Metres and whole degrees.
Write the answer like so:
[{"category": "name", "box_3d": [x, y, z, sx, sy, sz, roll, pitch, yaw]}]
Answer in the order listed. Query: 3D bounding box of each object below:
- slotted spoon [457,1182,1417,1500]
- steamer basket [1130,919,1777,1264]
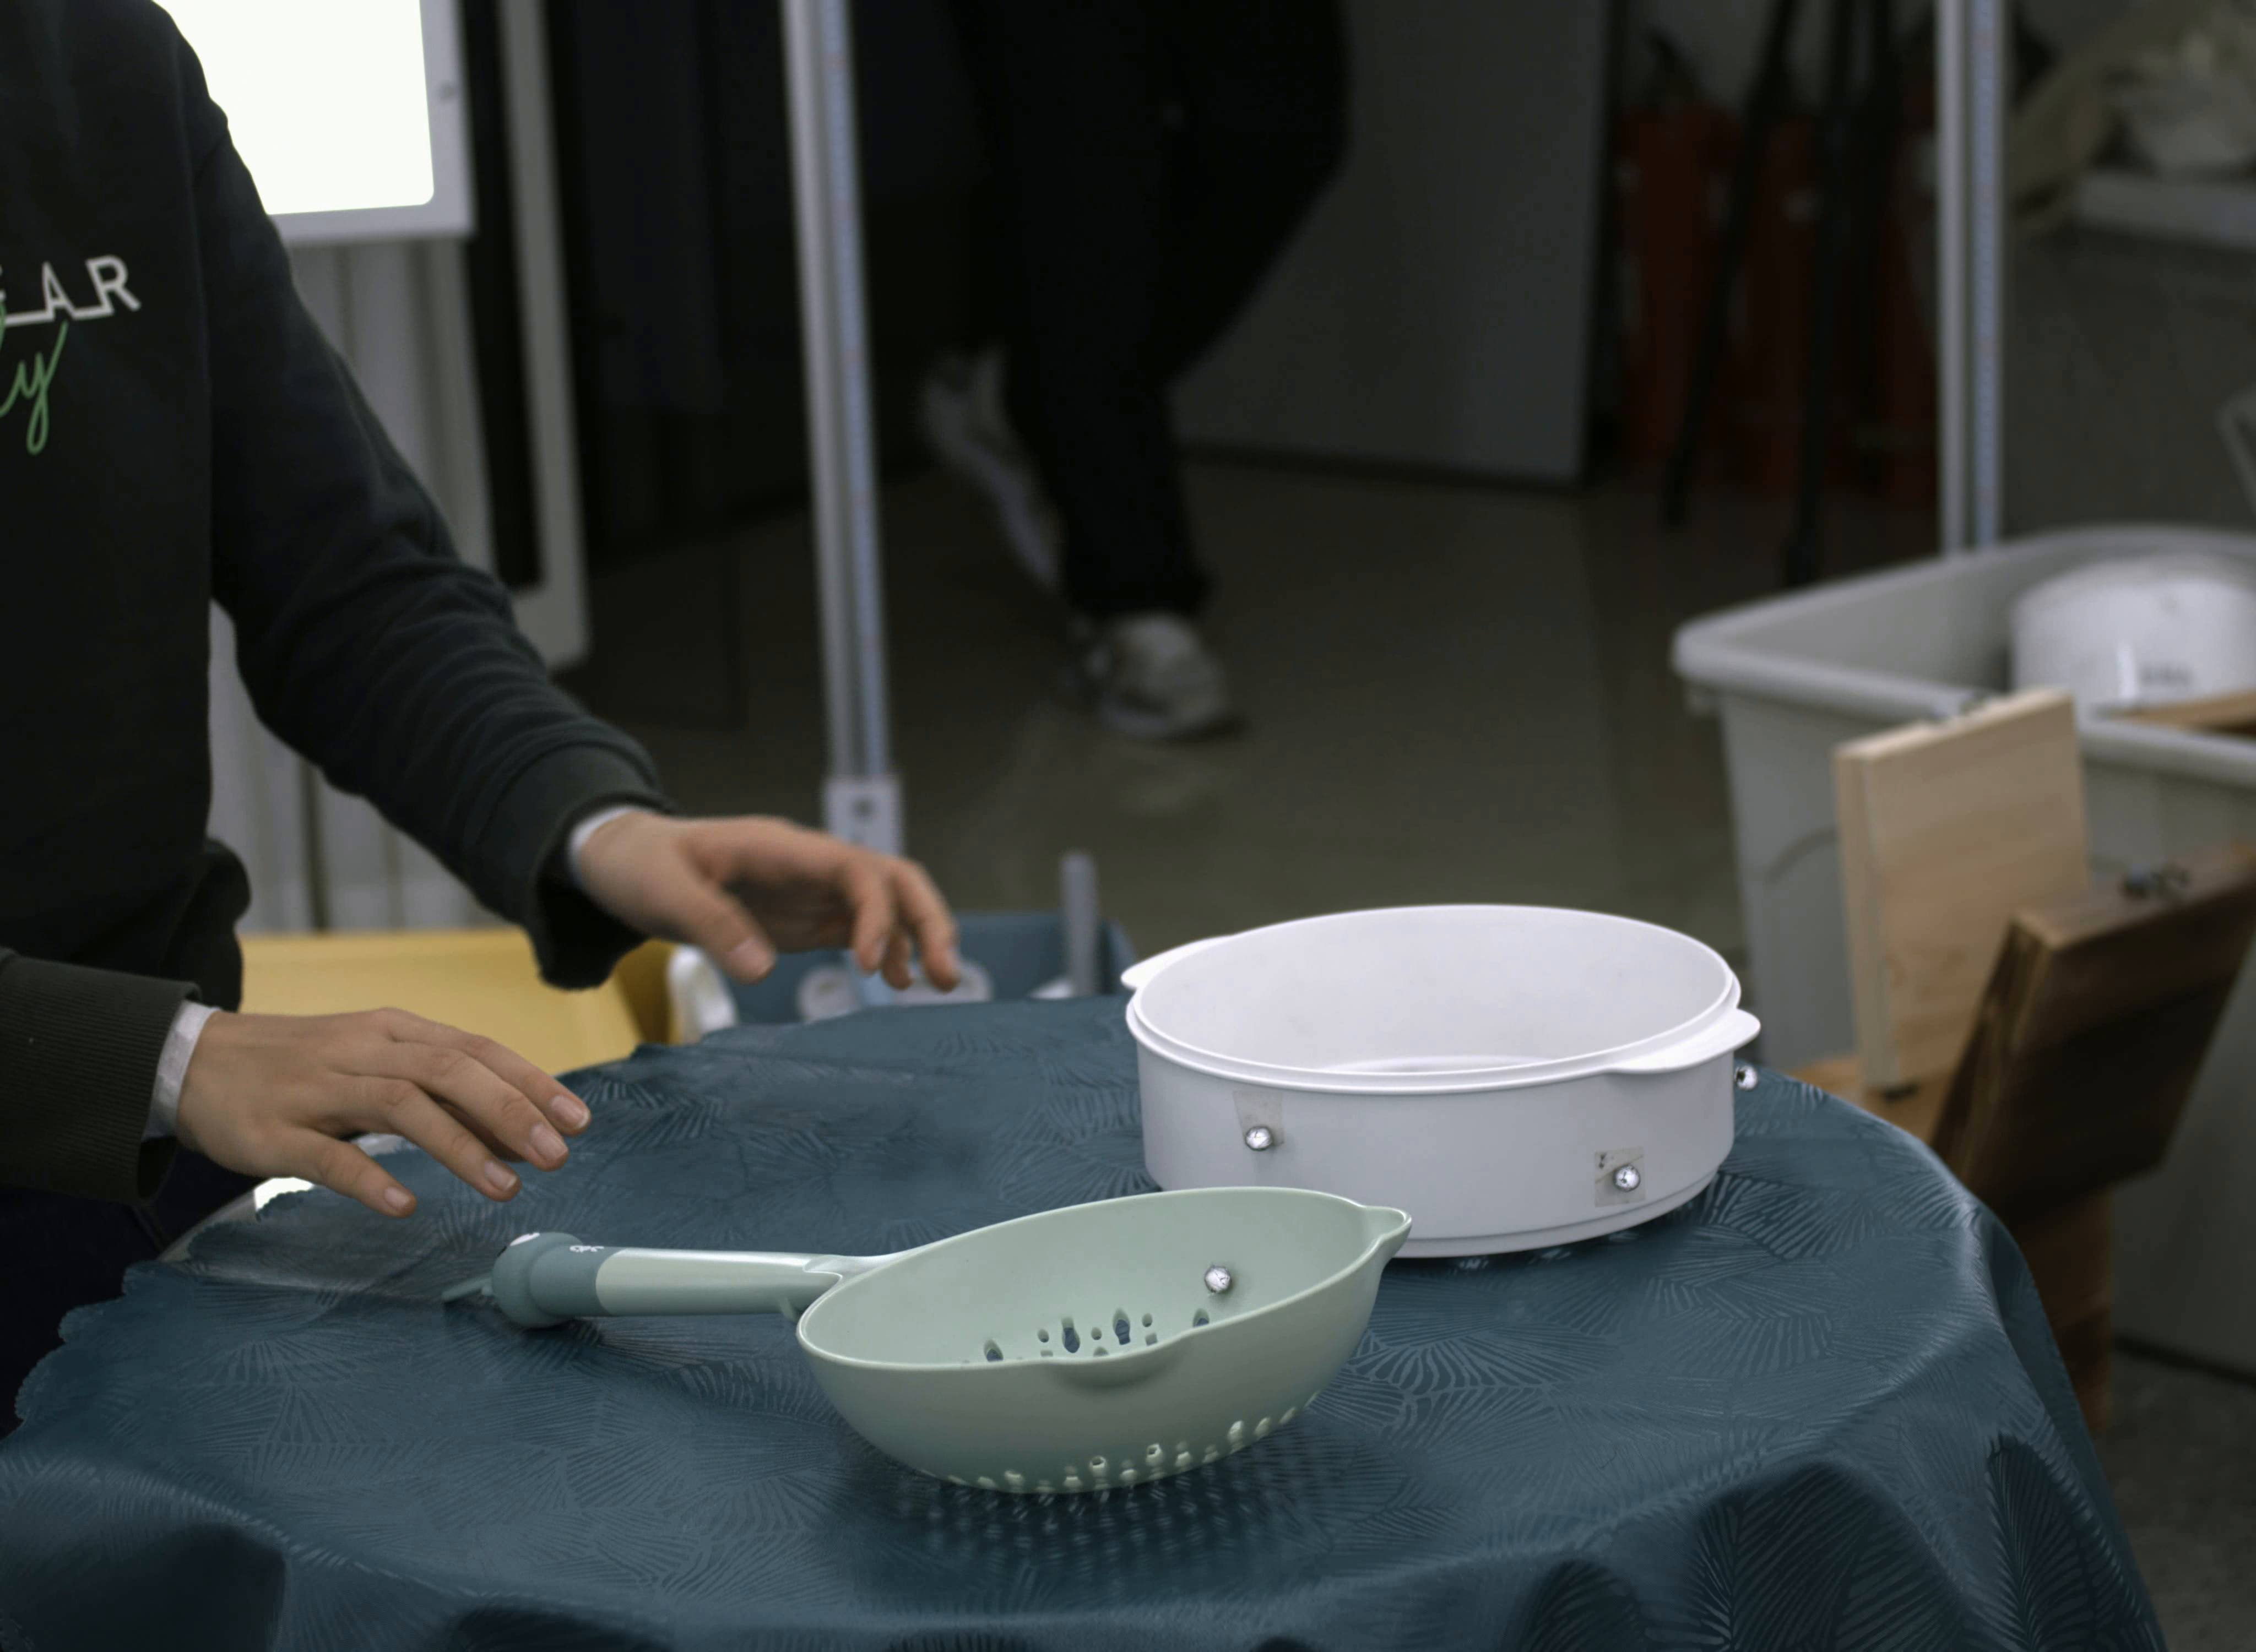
[{"category": "slotted spoon", "box_3d": [-0.078, 0.140, 1.582, 0.362, 0.076, 0.166, 9, 19, 41]}, {"category": "steamer basket", "box_3d": [0.104, 0.086, 1.750, 0.232, 0.070, 0.198, 6, 16, 38]}]
